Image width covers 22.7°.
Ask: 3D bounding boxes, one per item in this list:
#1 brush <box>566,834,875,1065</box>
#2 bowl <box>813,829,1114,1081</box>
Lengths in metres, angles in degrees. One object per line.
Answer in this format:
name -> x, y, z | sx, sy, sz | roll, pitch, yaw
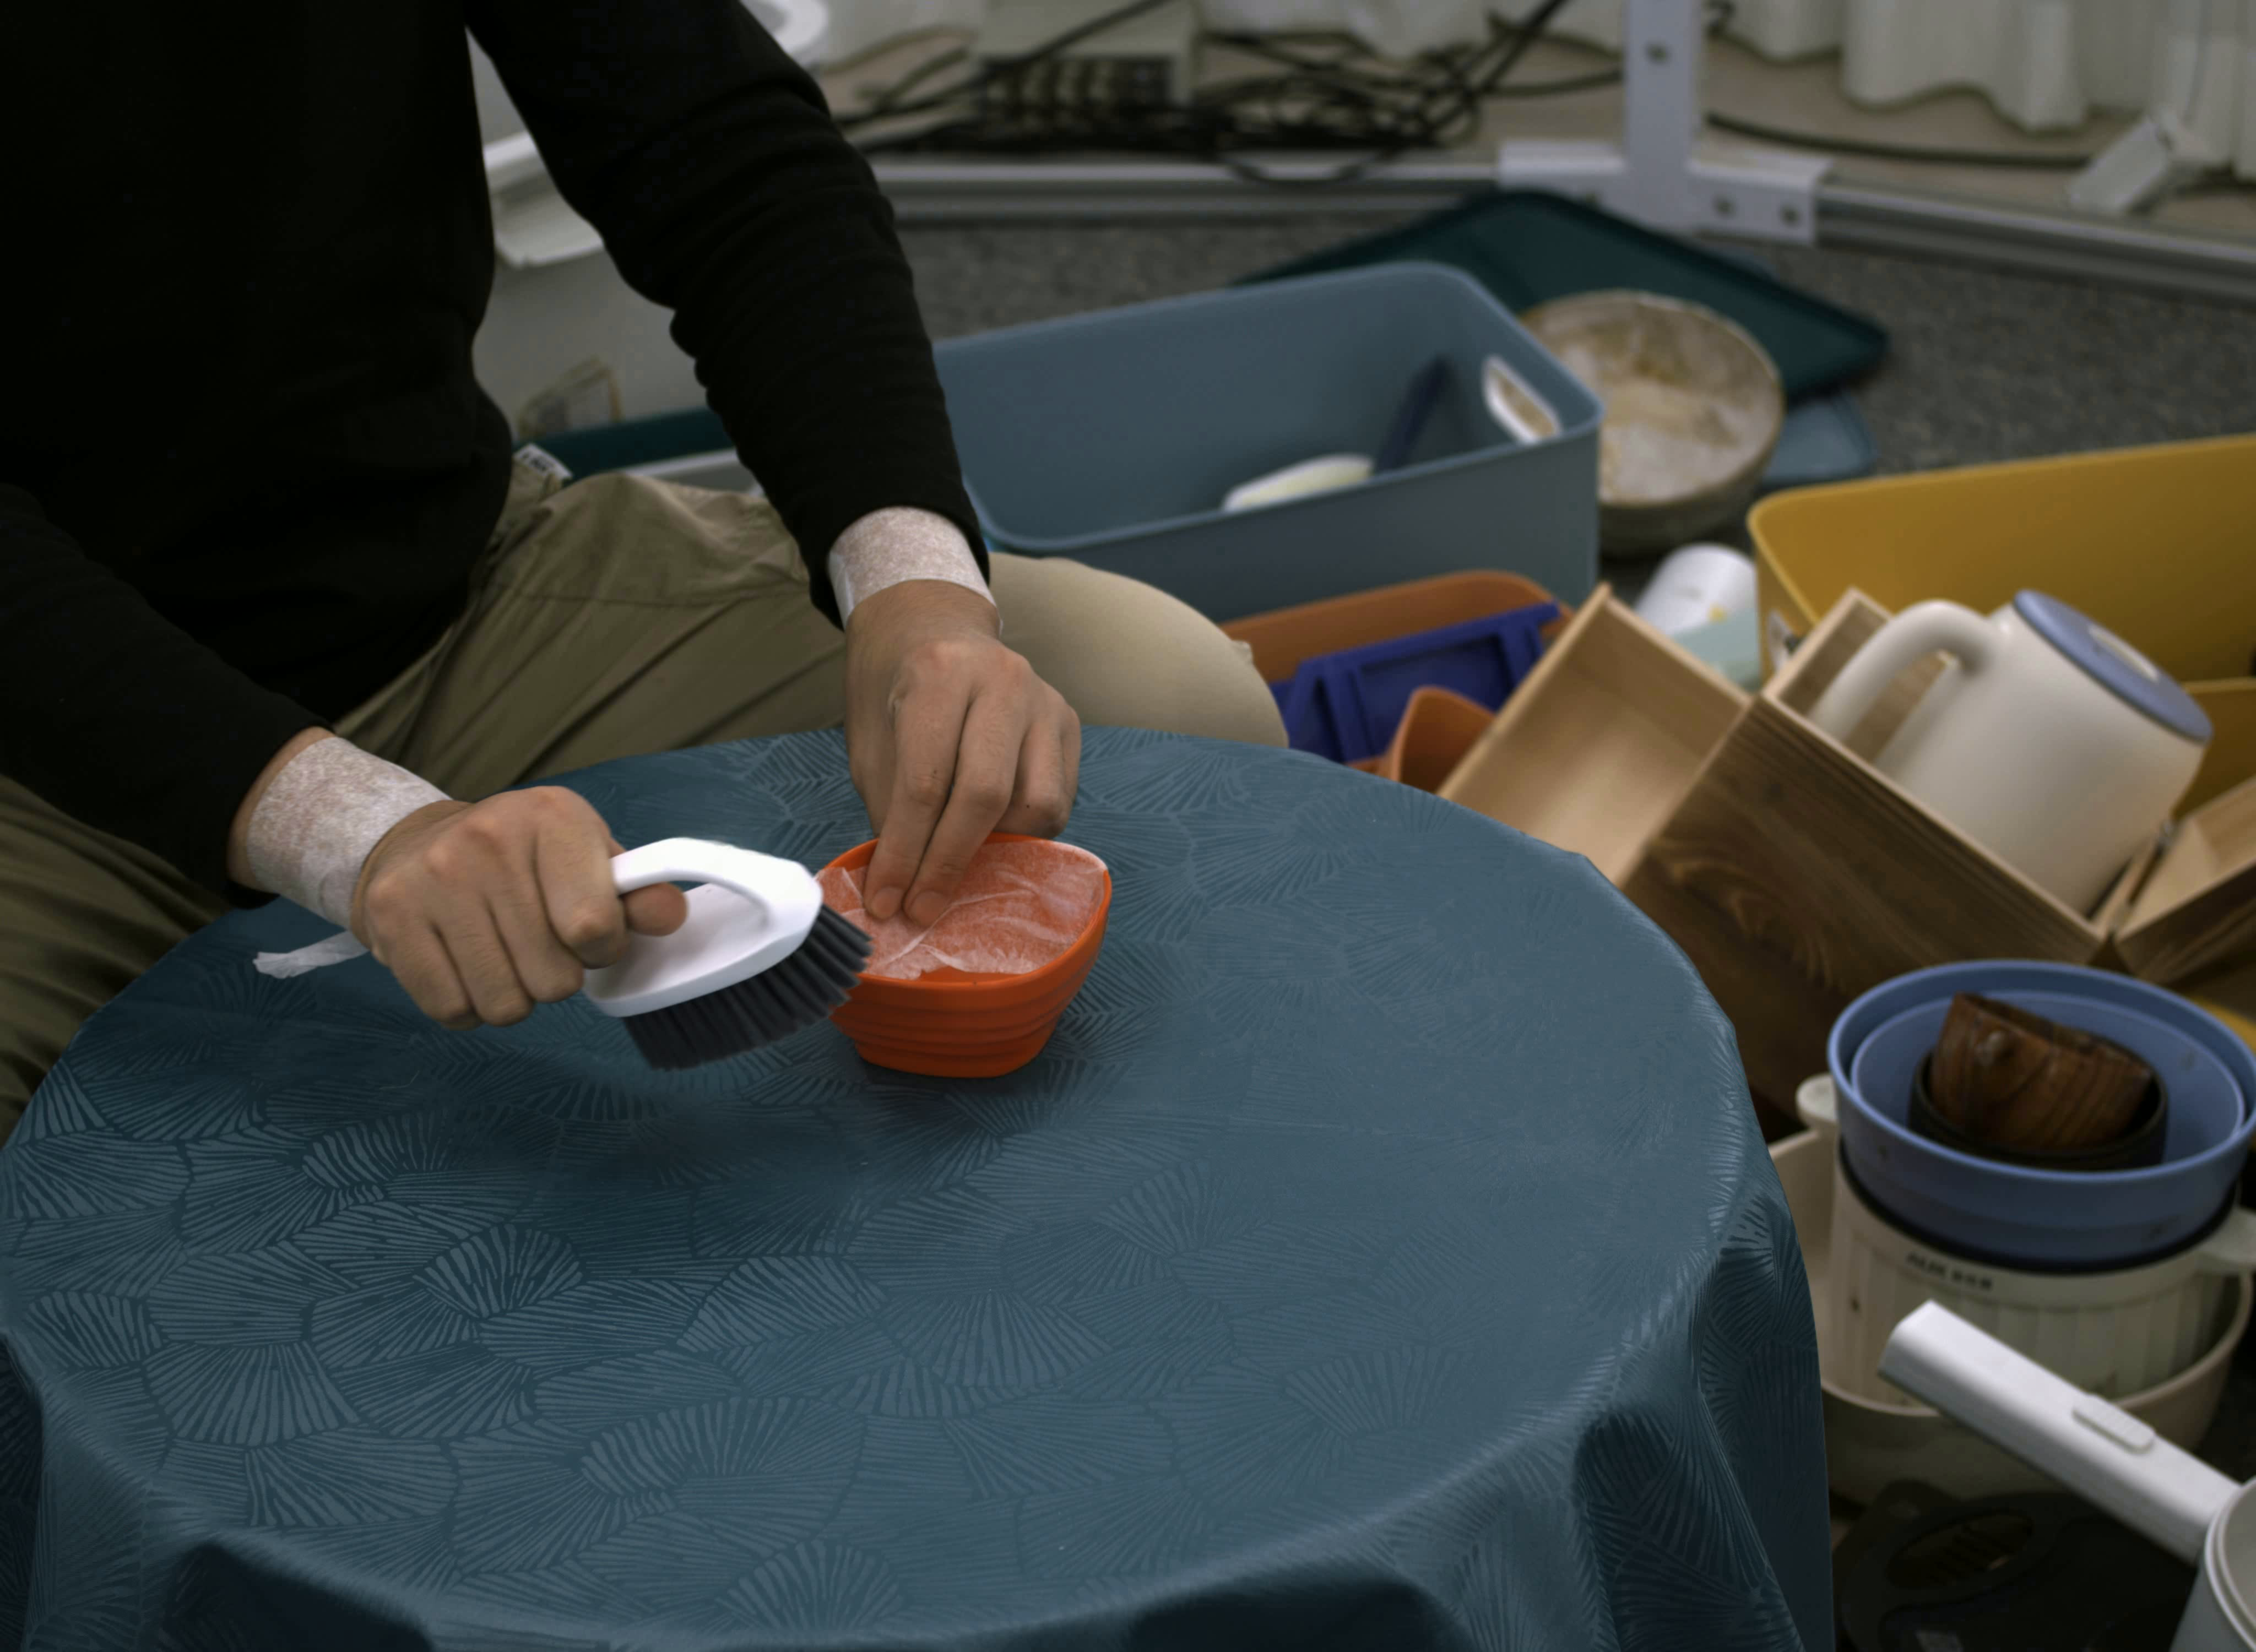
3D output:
brush -> -0.142, 0.034, 1.857 | 0.098, 0.072, 0.051 | -17, 38, 37
bowl -> -0.061, 0.049, 1.952 | 0.118, 0.051, 0.121 | -1, 28, 1
